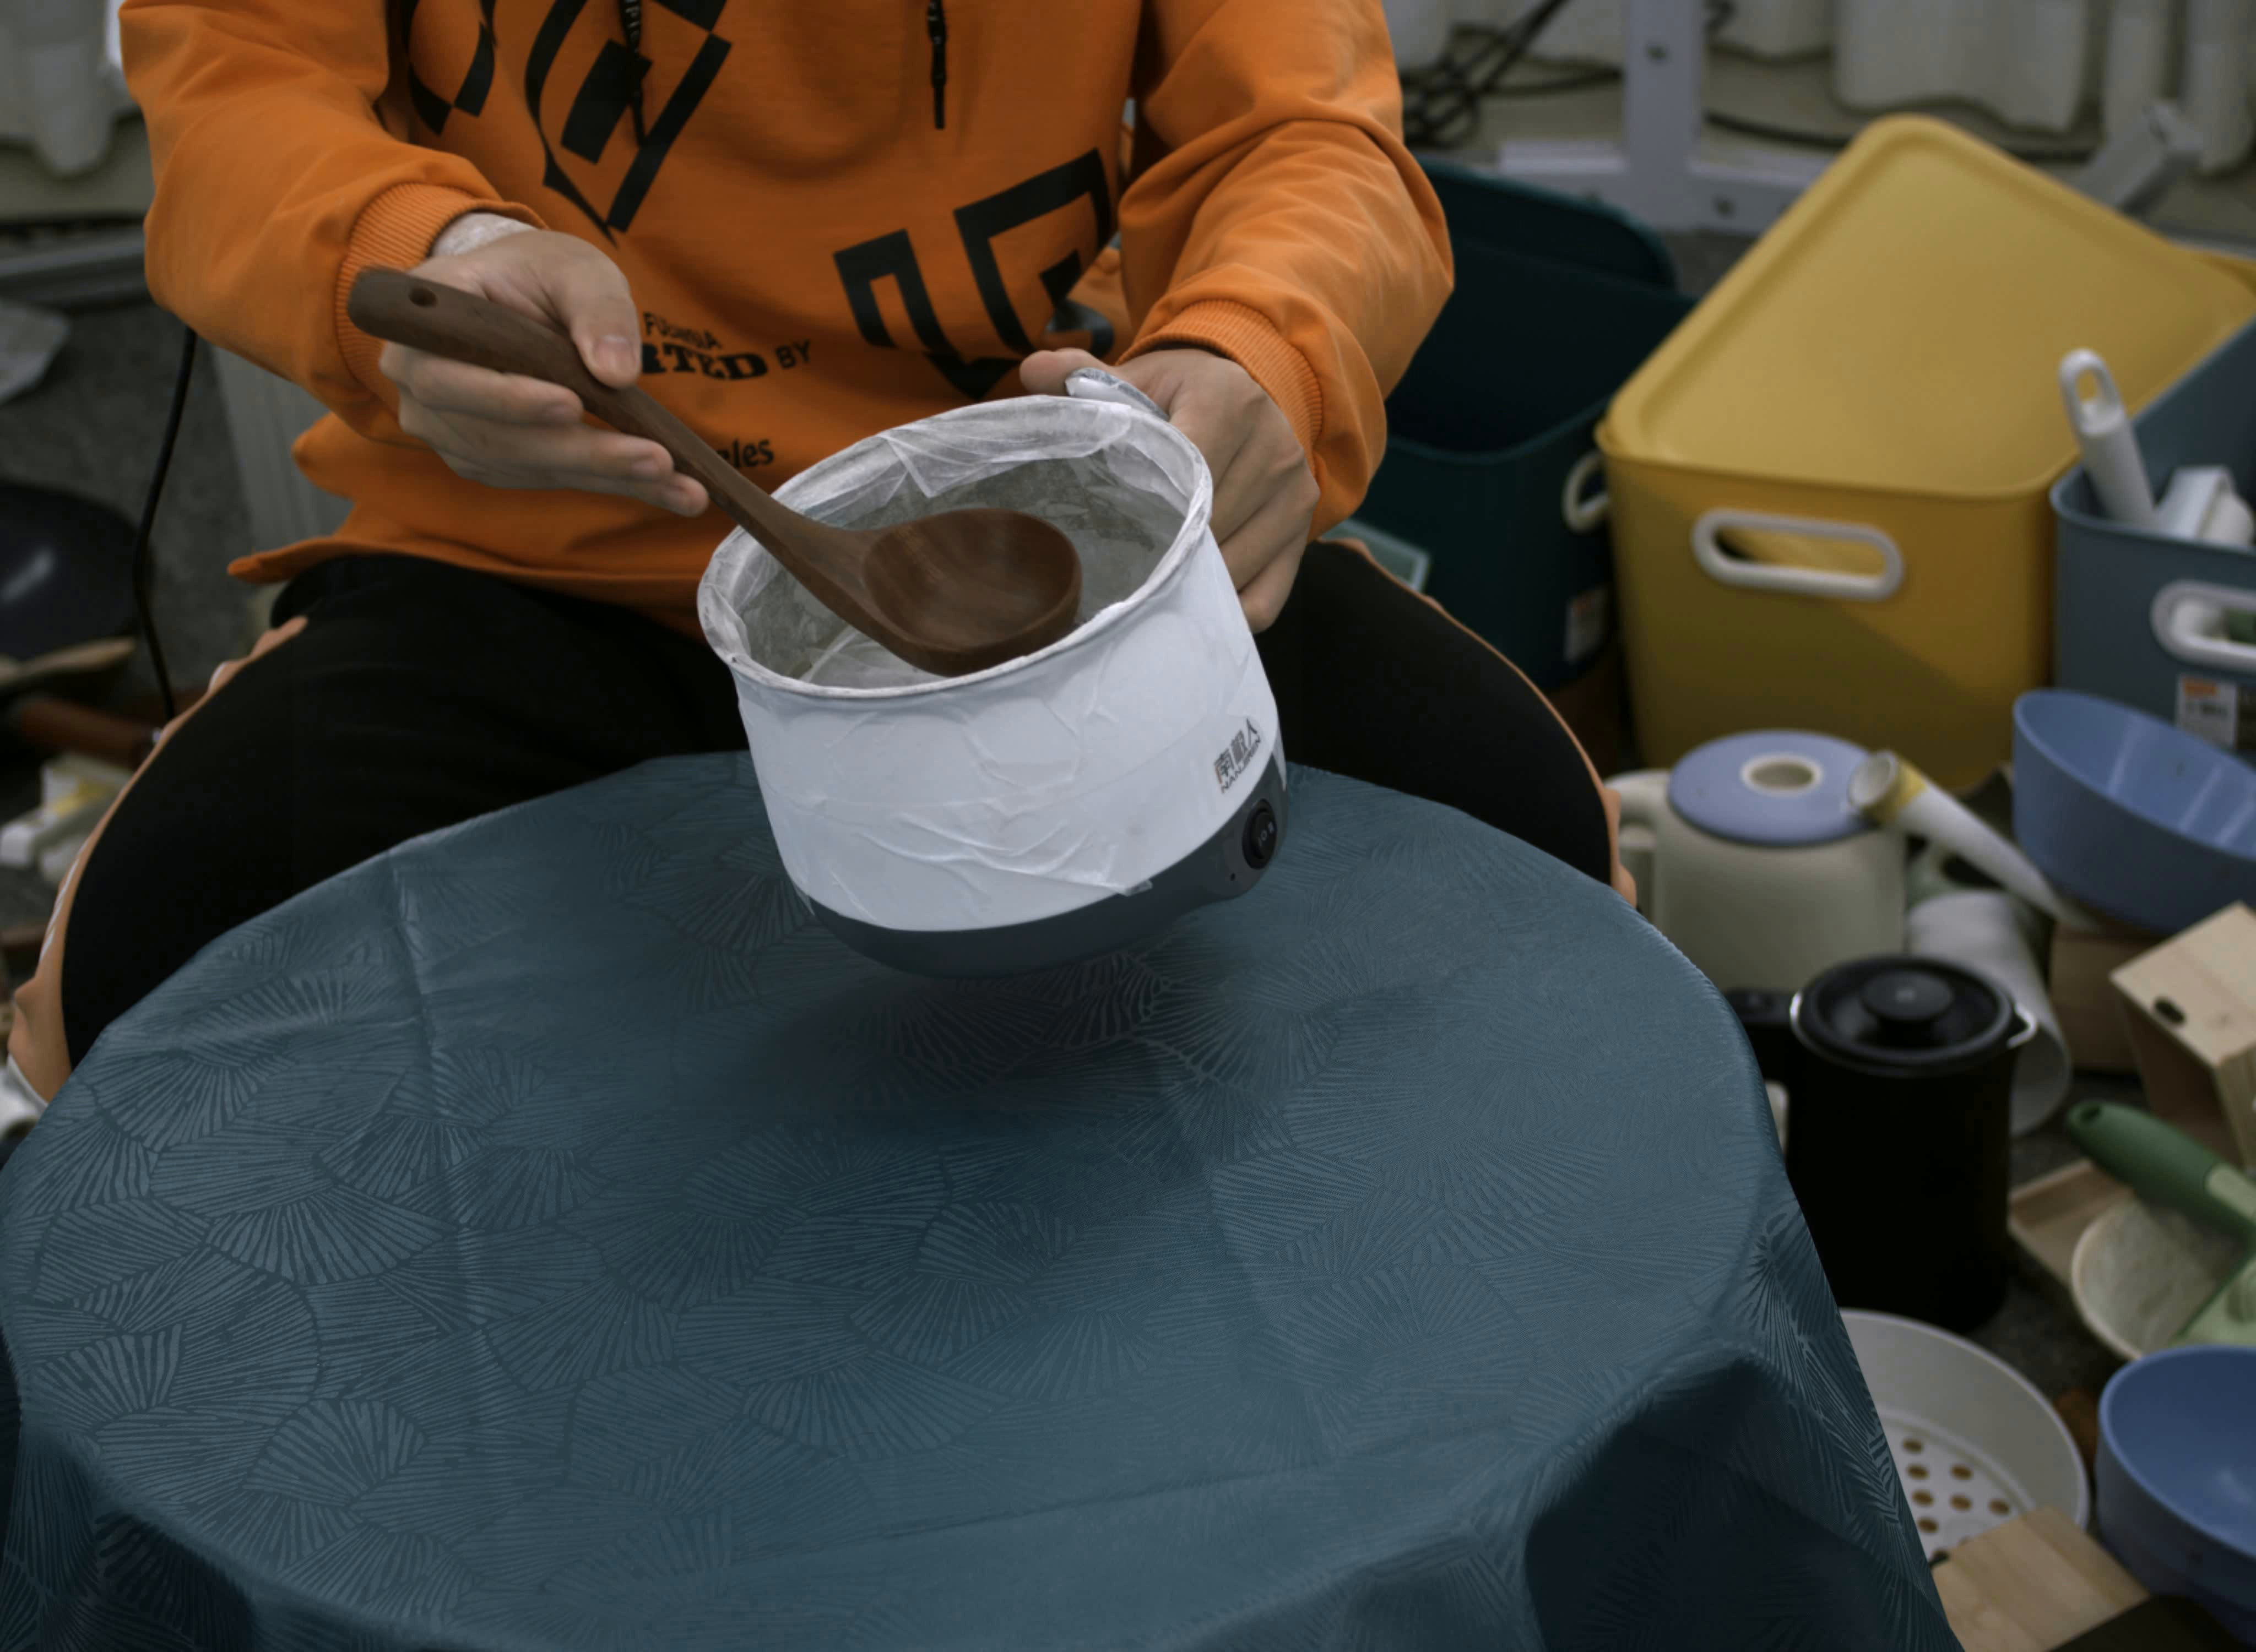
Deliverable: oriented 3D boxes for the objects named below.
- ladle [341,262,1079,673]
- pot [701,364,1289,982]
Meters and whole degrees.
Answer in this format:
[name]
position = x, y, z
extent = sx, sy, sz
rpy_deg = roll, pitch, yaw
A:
[ladle]
position = -0.132, -0.126, 1.835
extent = 0.259, 0.064, 0.078
rpy_deg = 32, 31, -19
[pot]
position = -0.031, -0.060, 1.918
extent = 0.177, 0.135, 0.238
rpy_deg = 4, 38, 27
